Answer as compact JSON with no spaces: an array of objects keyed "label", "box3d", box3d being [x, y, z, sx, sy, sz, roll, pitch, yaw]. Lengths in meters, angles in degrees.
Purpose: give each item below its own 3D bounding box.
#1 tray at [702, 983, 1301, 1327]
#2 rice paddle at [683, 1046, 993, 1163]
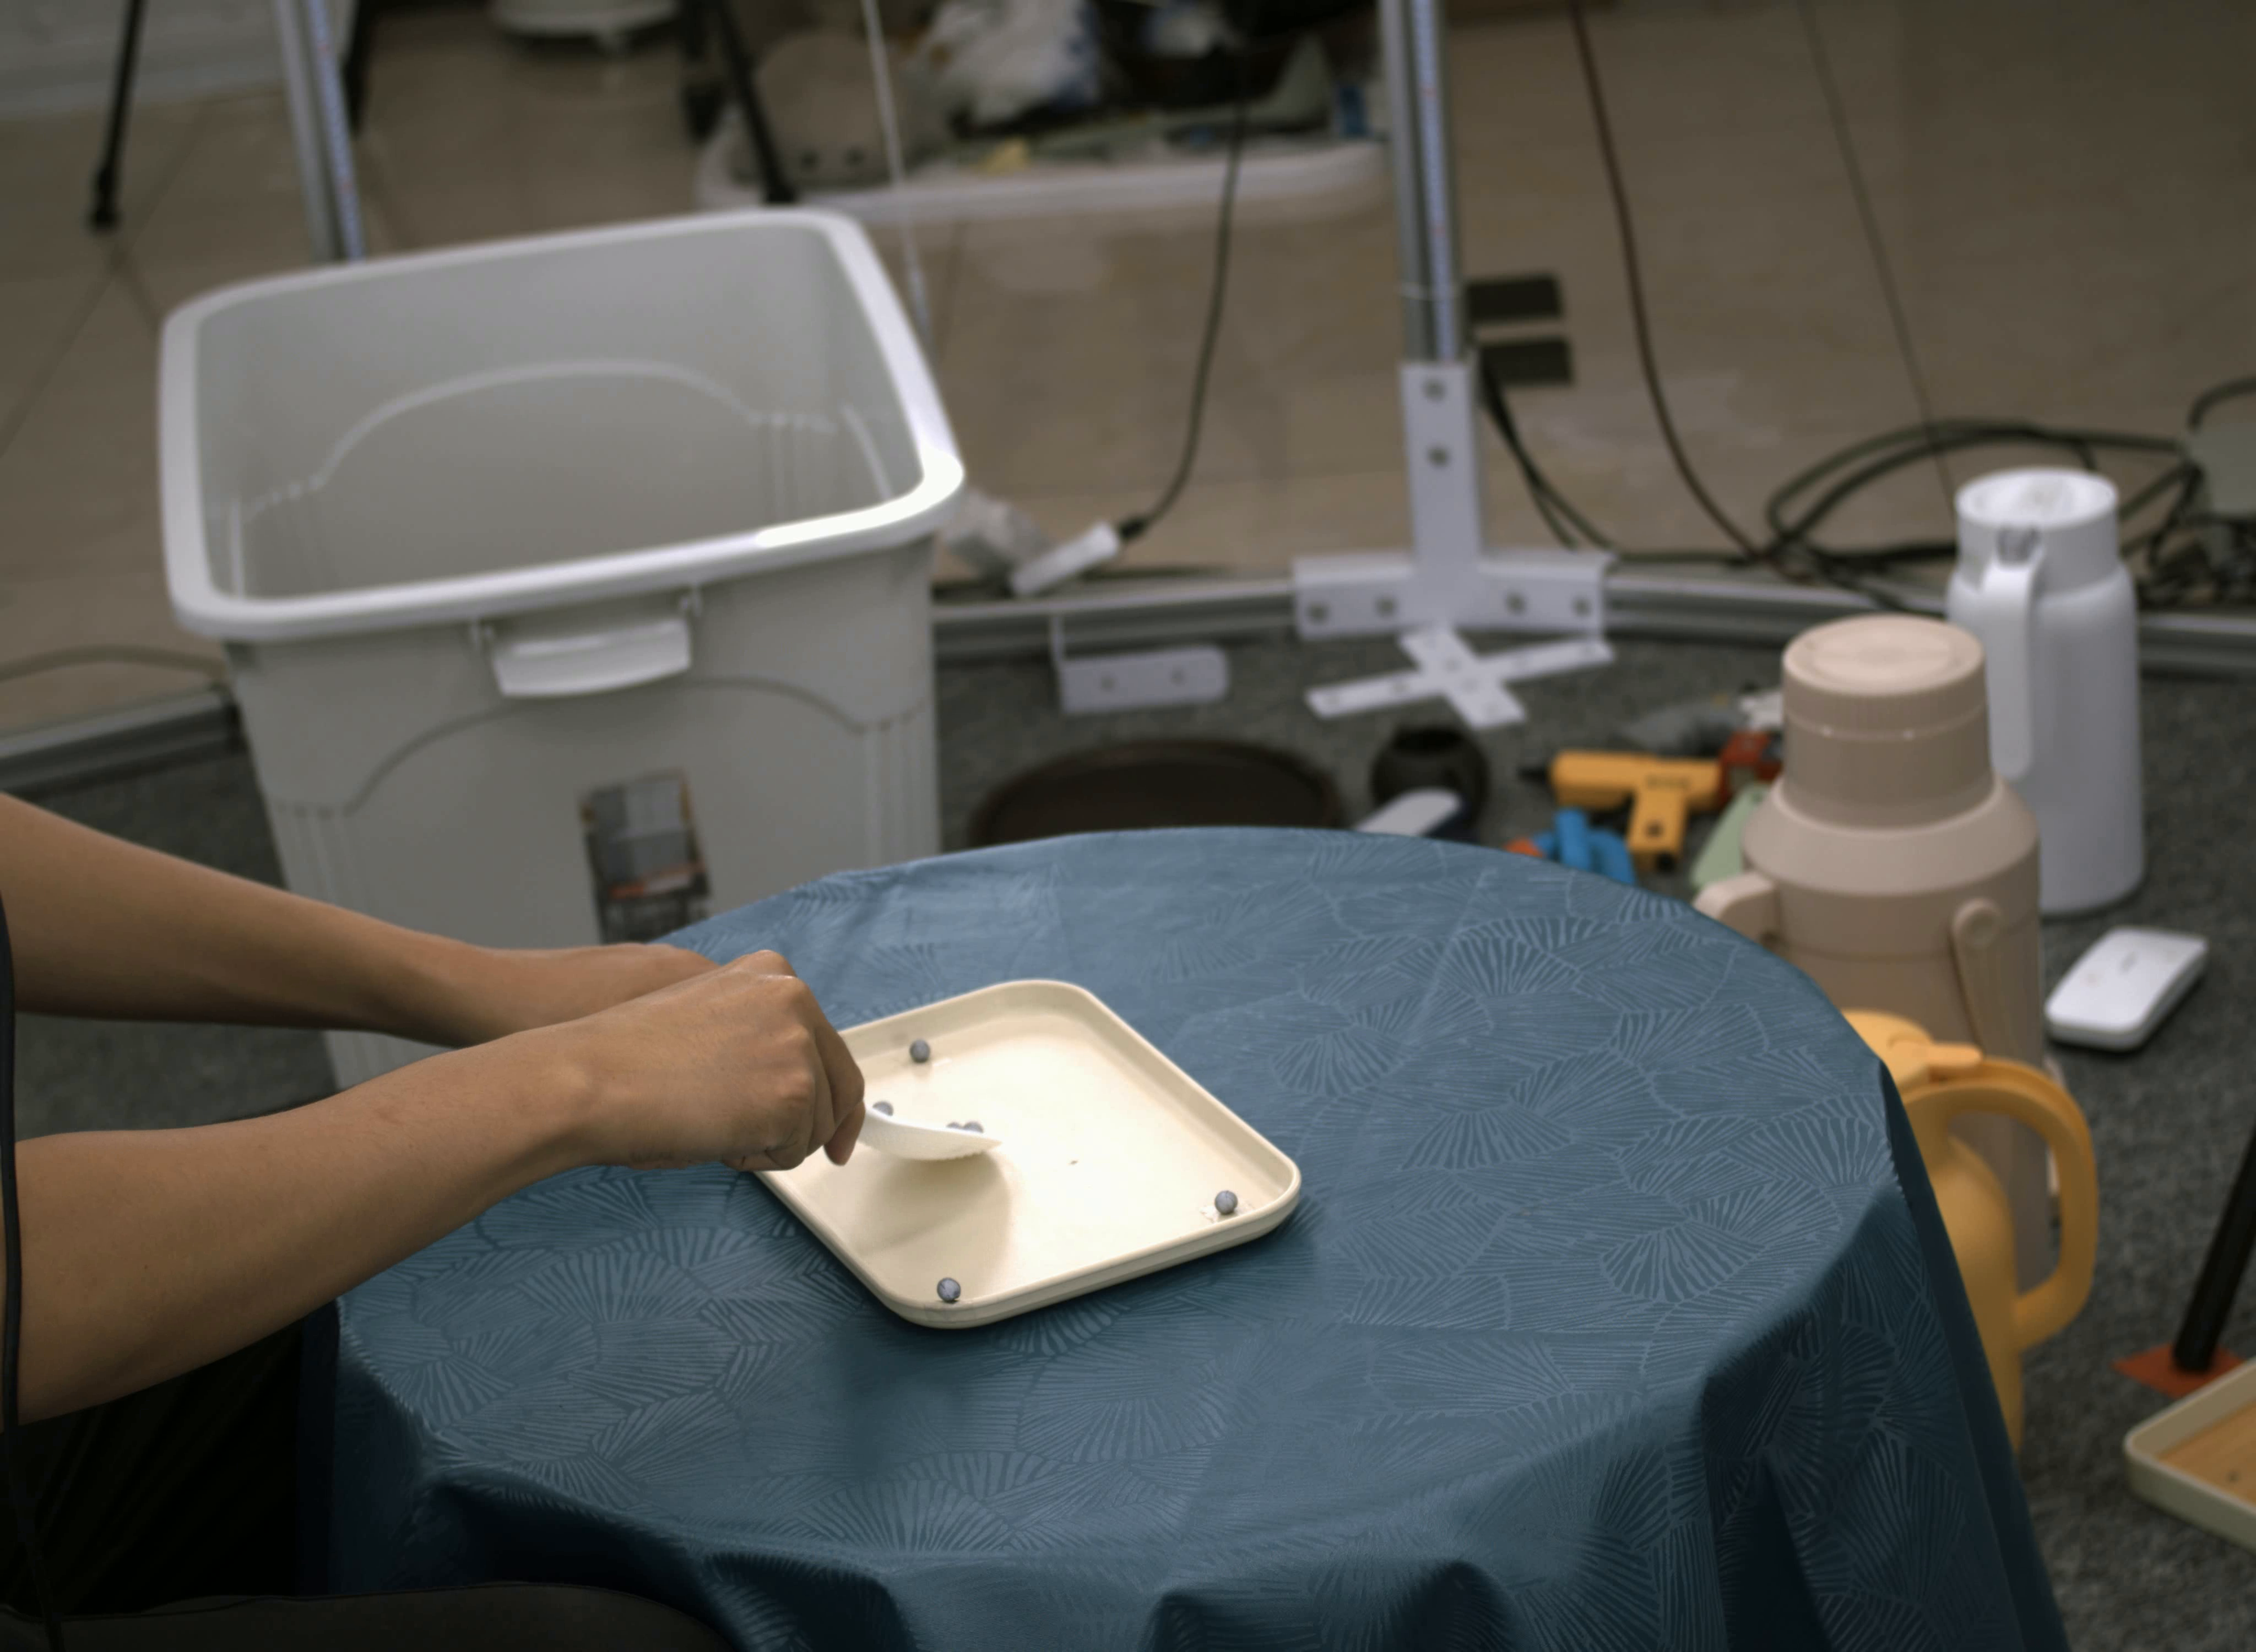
[{"label":"tray","box3d":[-0.052,0.125,2.174,0.170,0.018,0.237,-16,26,-21]},{"label":"rice paddle","box3d":[-0.107,0.105,2.100,0.068,0.029,0.206,13,-2,22]}]
